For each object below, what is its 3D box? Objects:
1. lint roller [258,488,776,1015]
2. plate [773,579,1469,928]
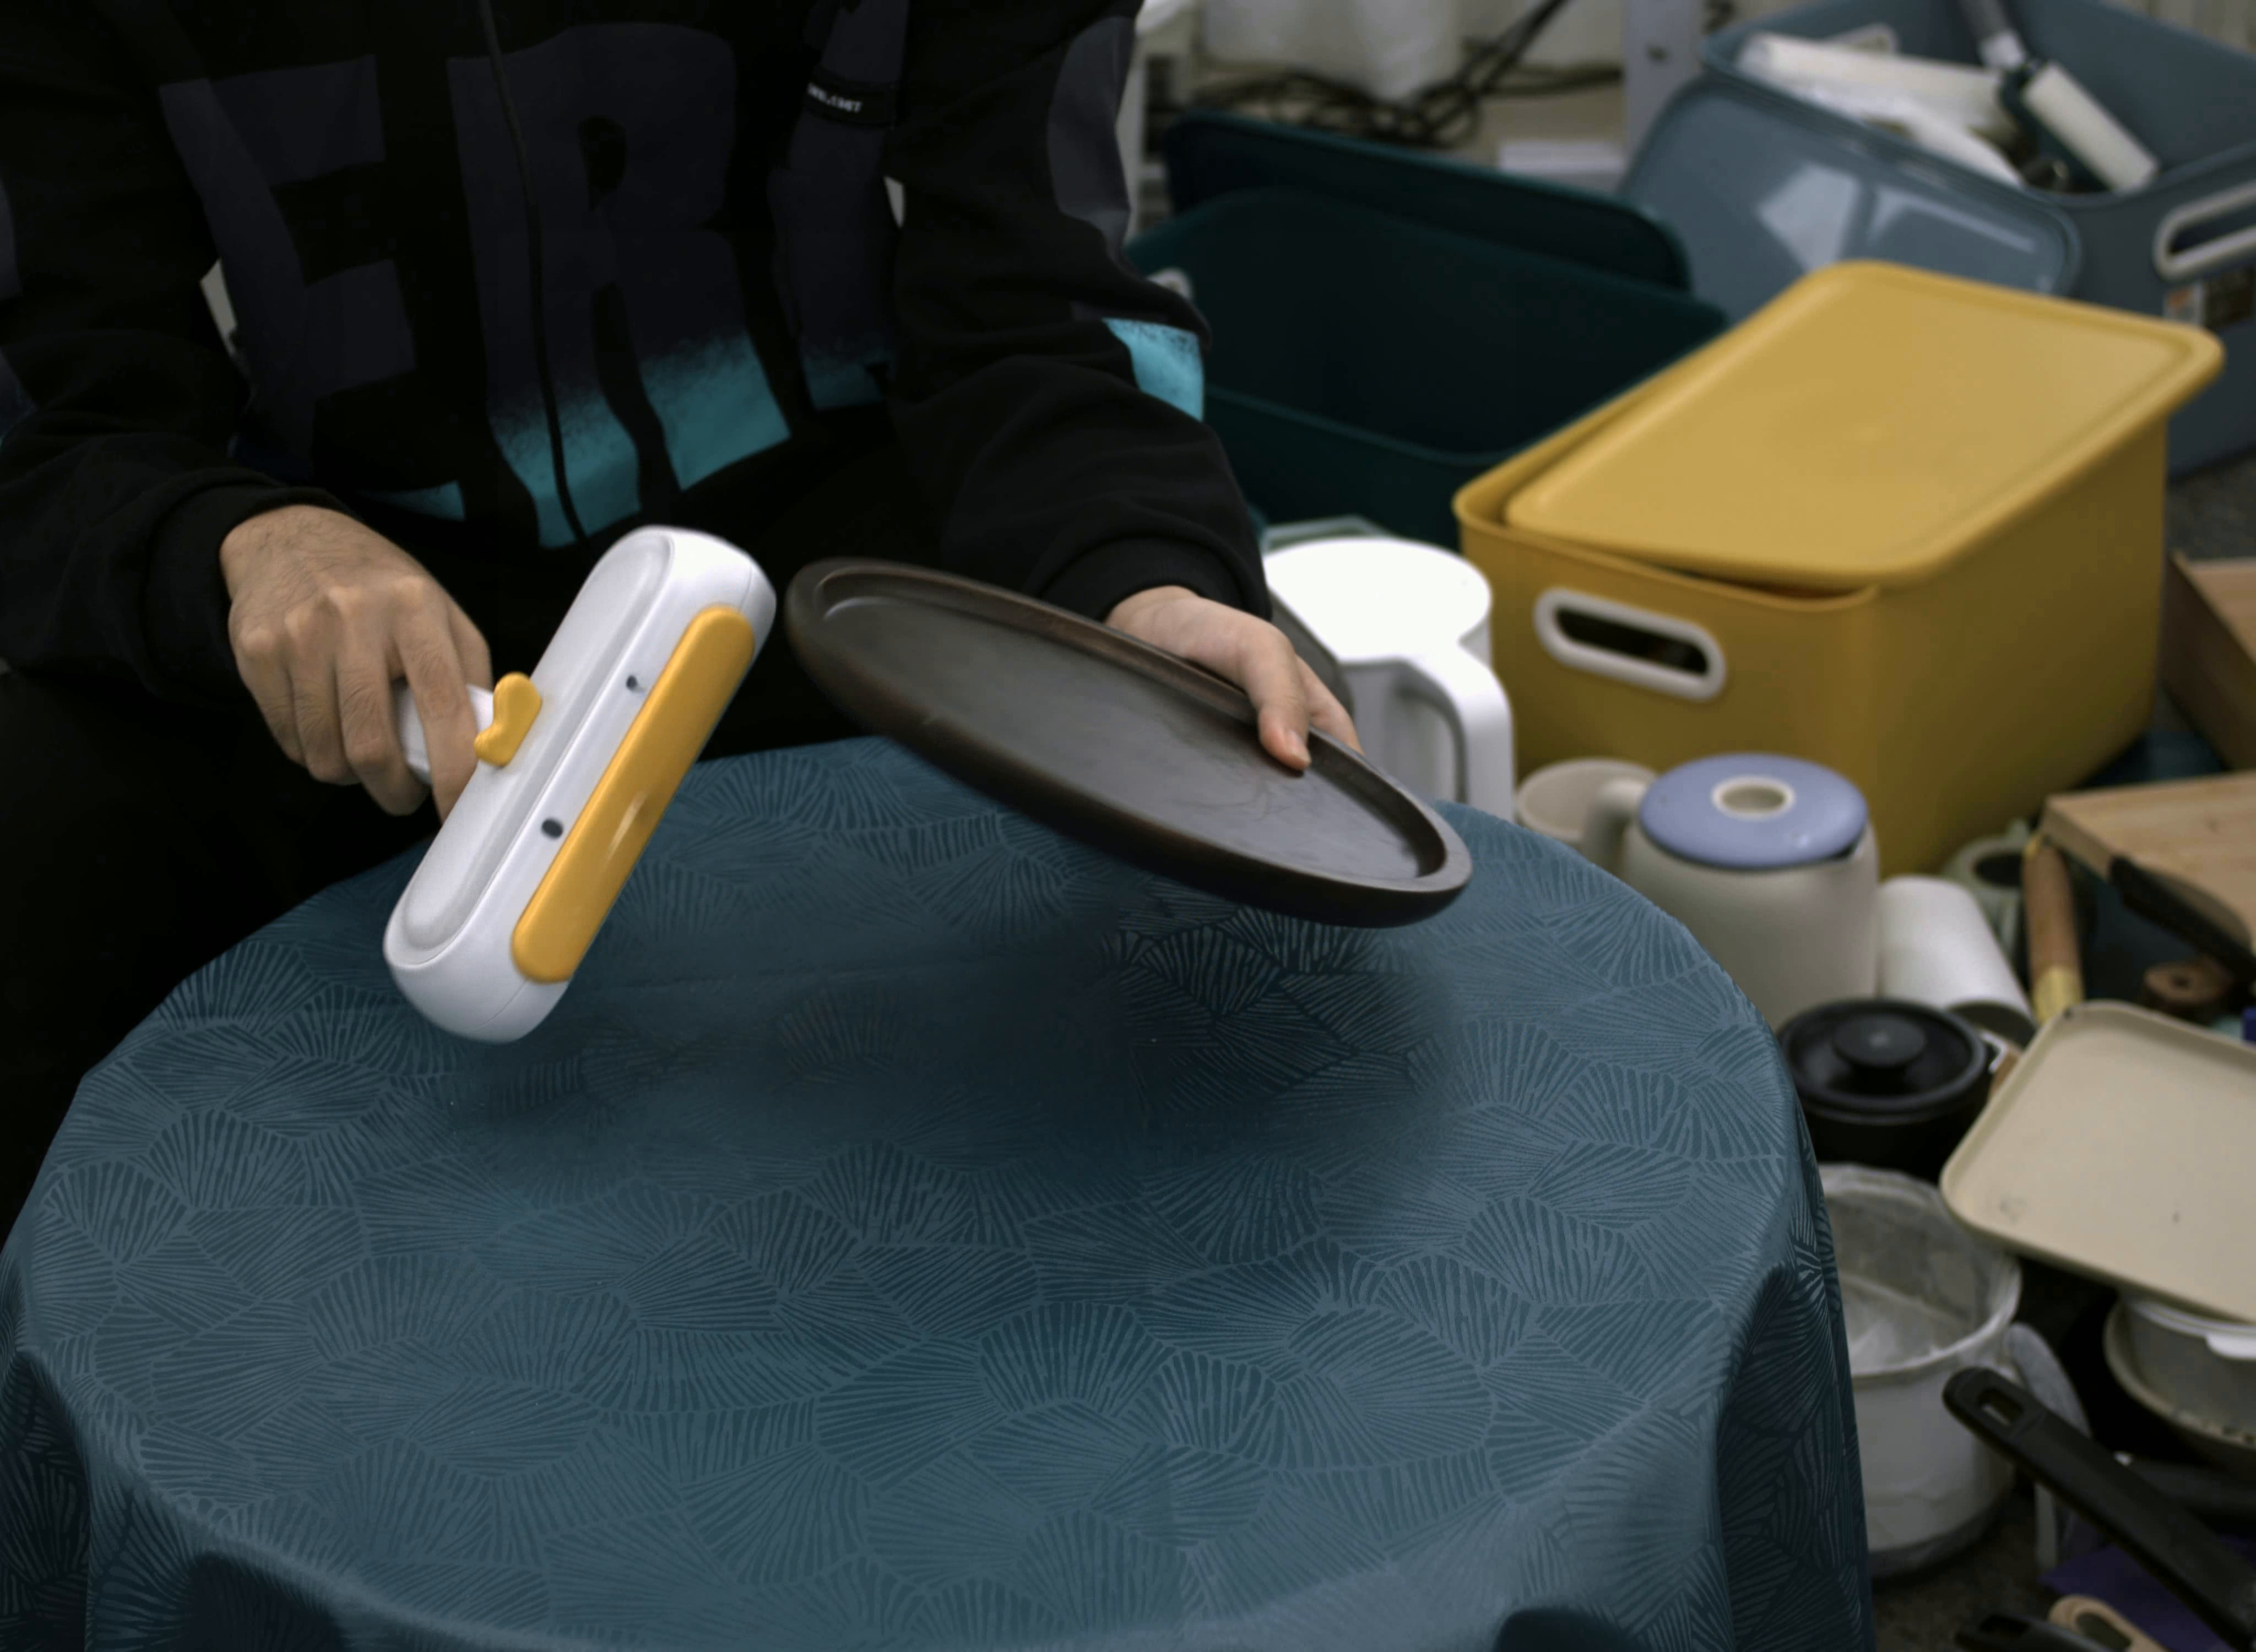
[{"bbox_3d":[-0.226,-0.035,1.957,0.191,0.195,0.074,7,-20,46],"label":"lint roller"},{"bbox_3d":[-0.004,-0.025,1.912,0.254,0.029,0.257,22,13,-4],"label":"plate"}]
